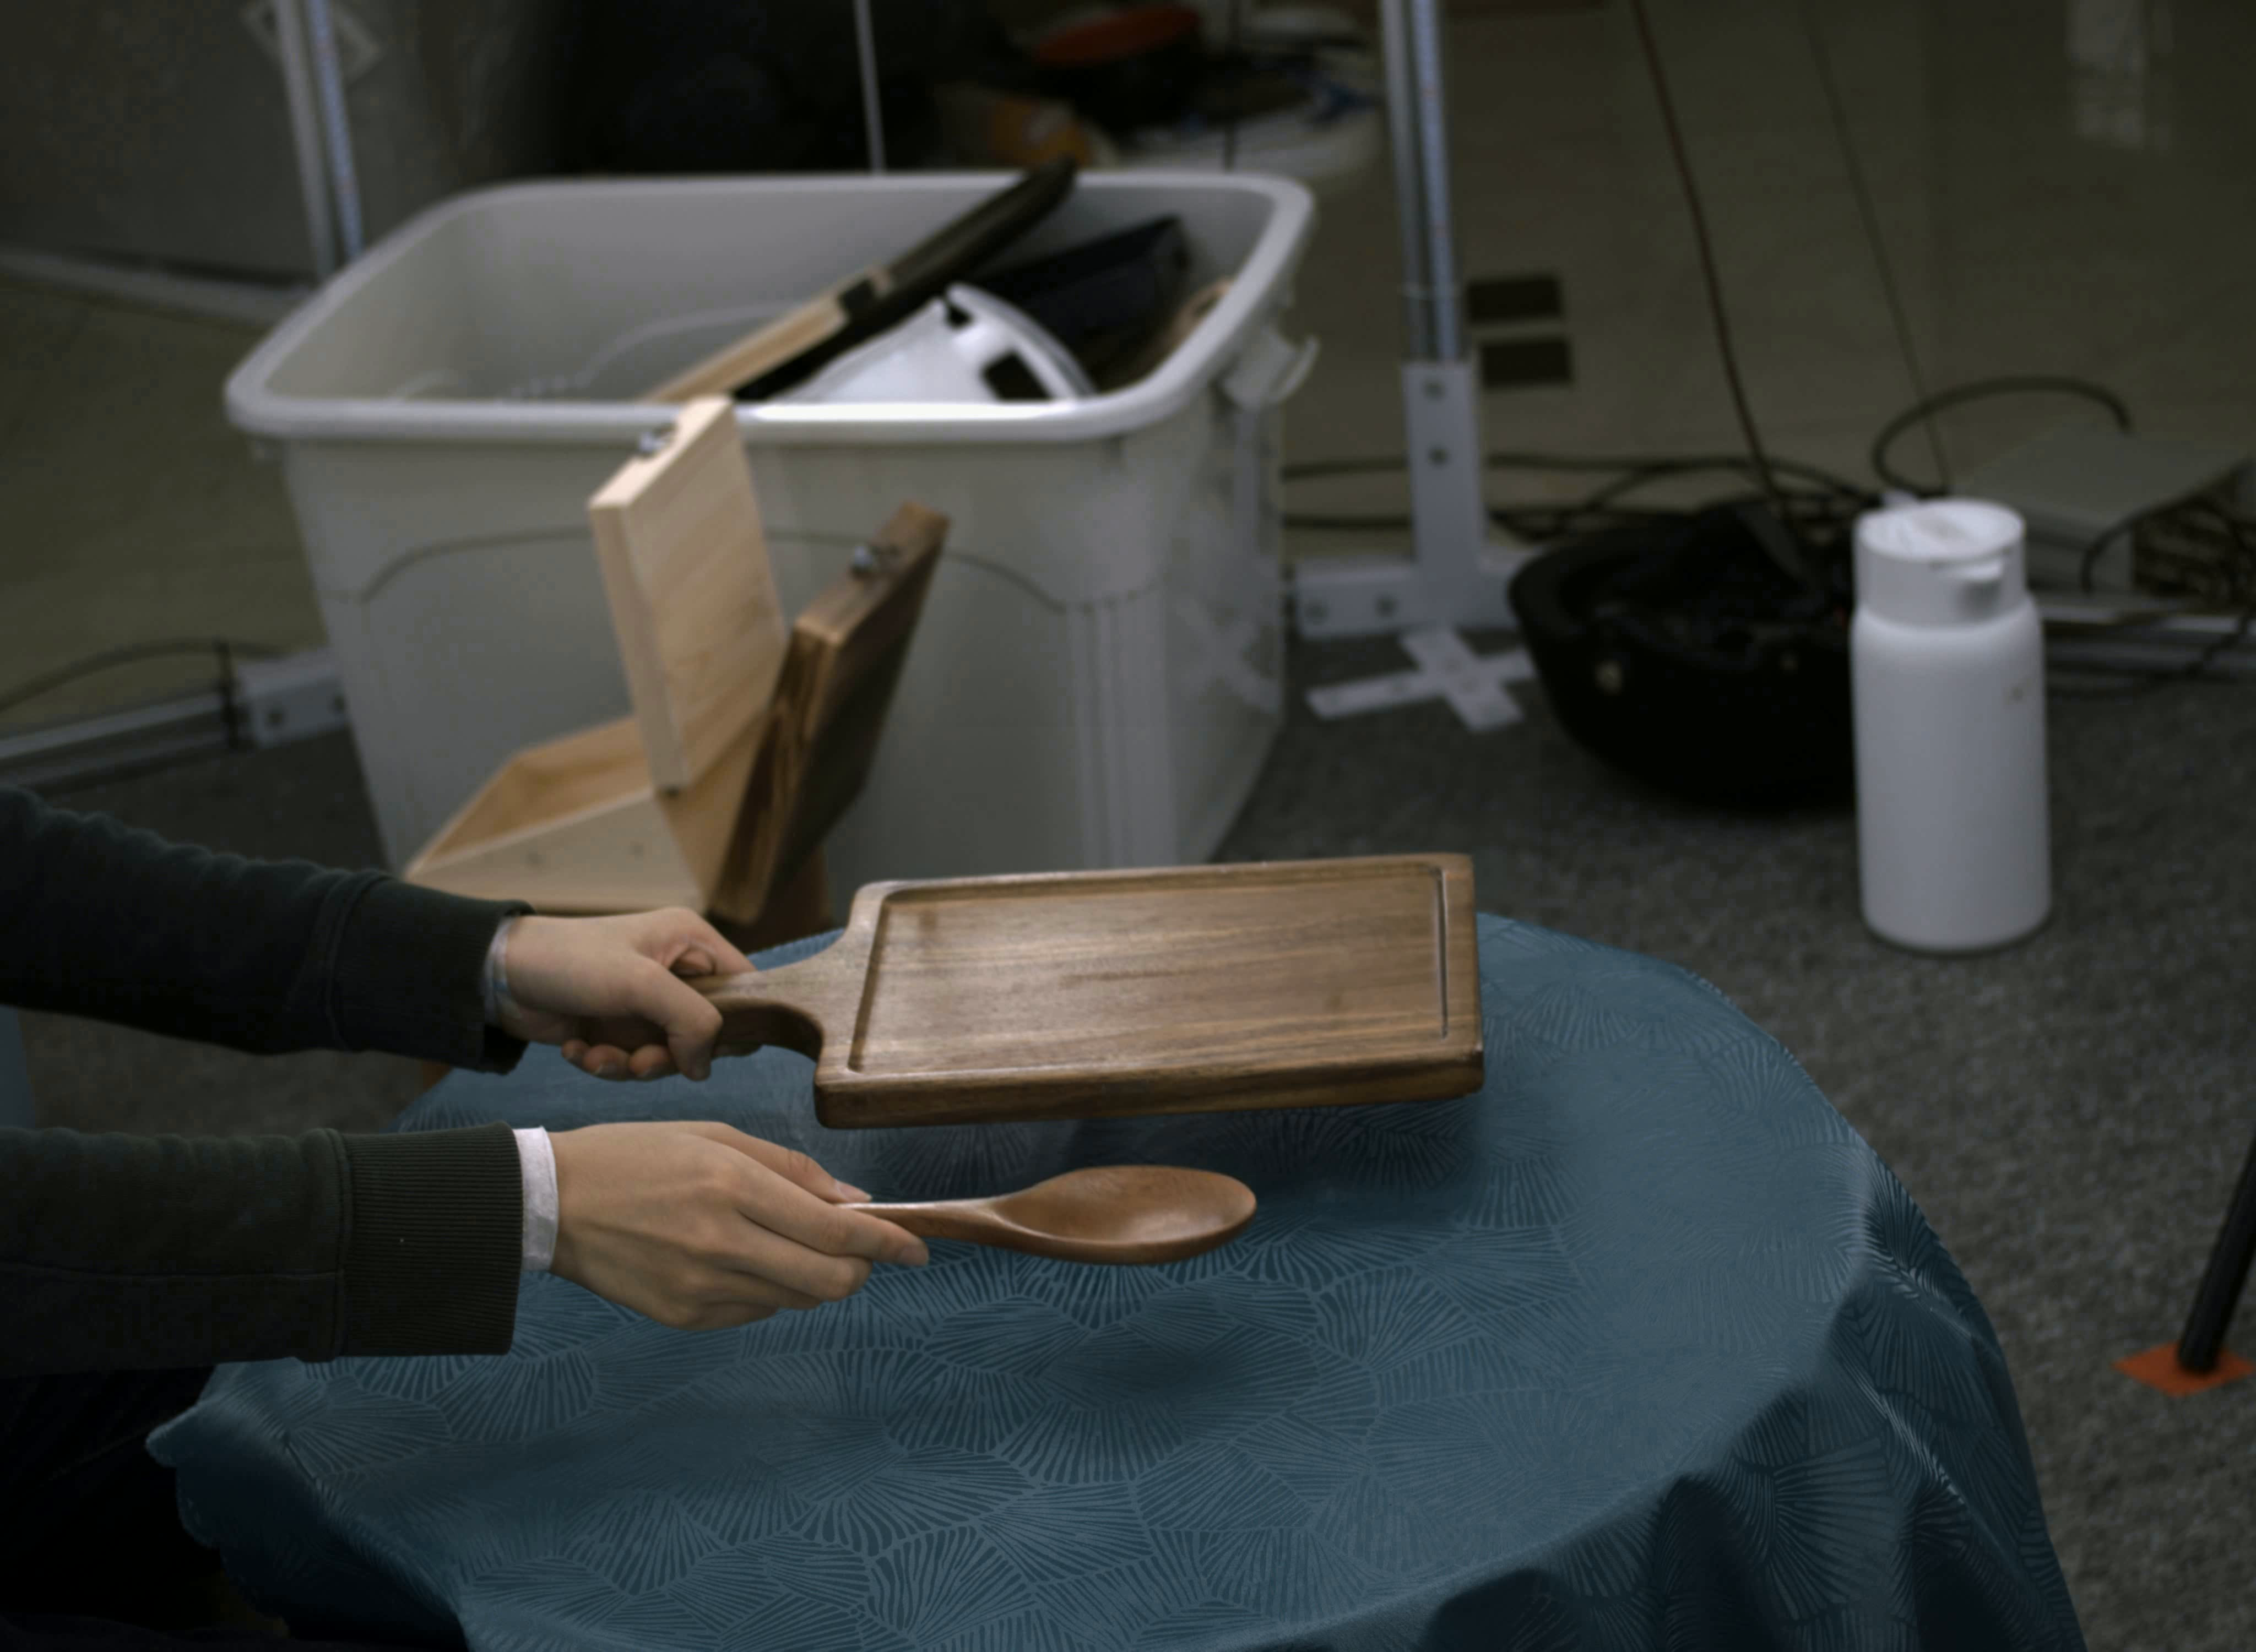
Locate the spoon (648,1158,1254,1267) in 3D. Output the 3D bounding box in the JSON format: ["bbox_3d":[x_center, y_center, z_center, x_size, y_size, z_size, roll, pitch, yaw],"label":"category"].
[{"bbox_3d":[-0.063,0.139,2.009,0.215,0.017,0.074,0,22,3],"label":"spoon"}]

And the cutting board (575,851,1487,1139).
[{"bbox_3d":[-0.039,0.066,2.193,0.351,0.023,0.198,-3,24,4],"label":"cutting board"}]
